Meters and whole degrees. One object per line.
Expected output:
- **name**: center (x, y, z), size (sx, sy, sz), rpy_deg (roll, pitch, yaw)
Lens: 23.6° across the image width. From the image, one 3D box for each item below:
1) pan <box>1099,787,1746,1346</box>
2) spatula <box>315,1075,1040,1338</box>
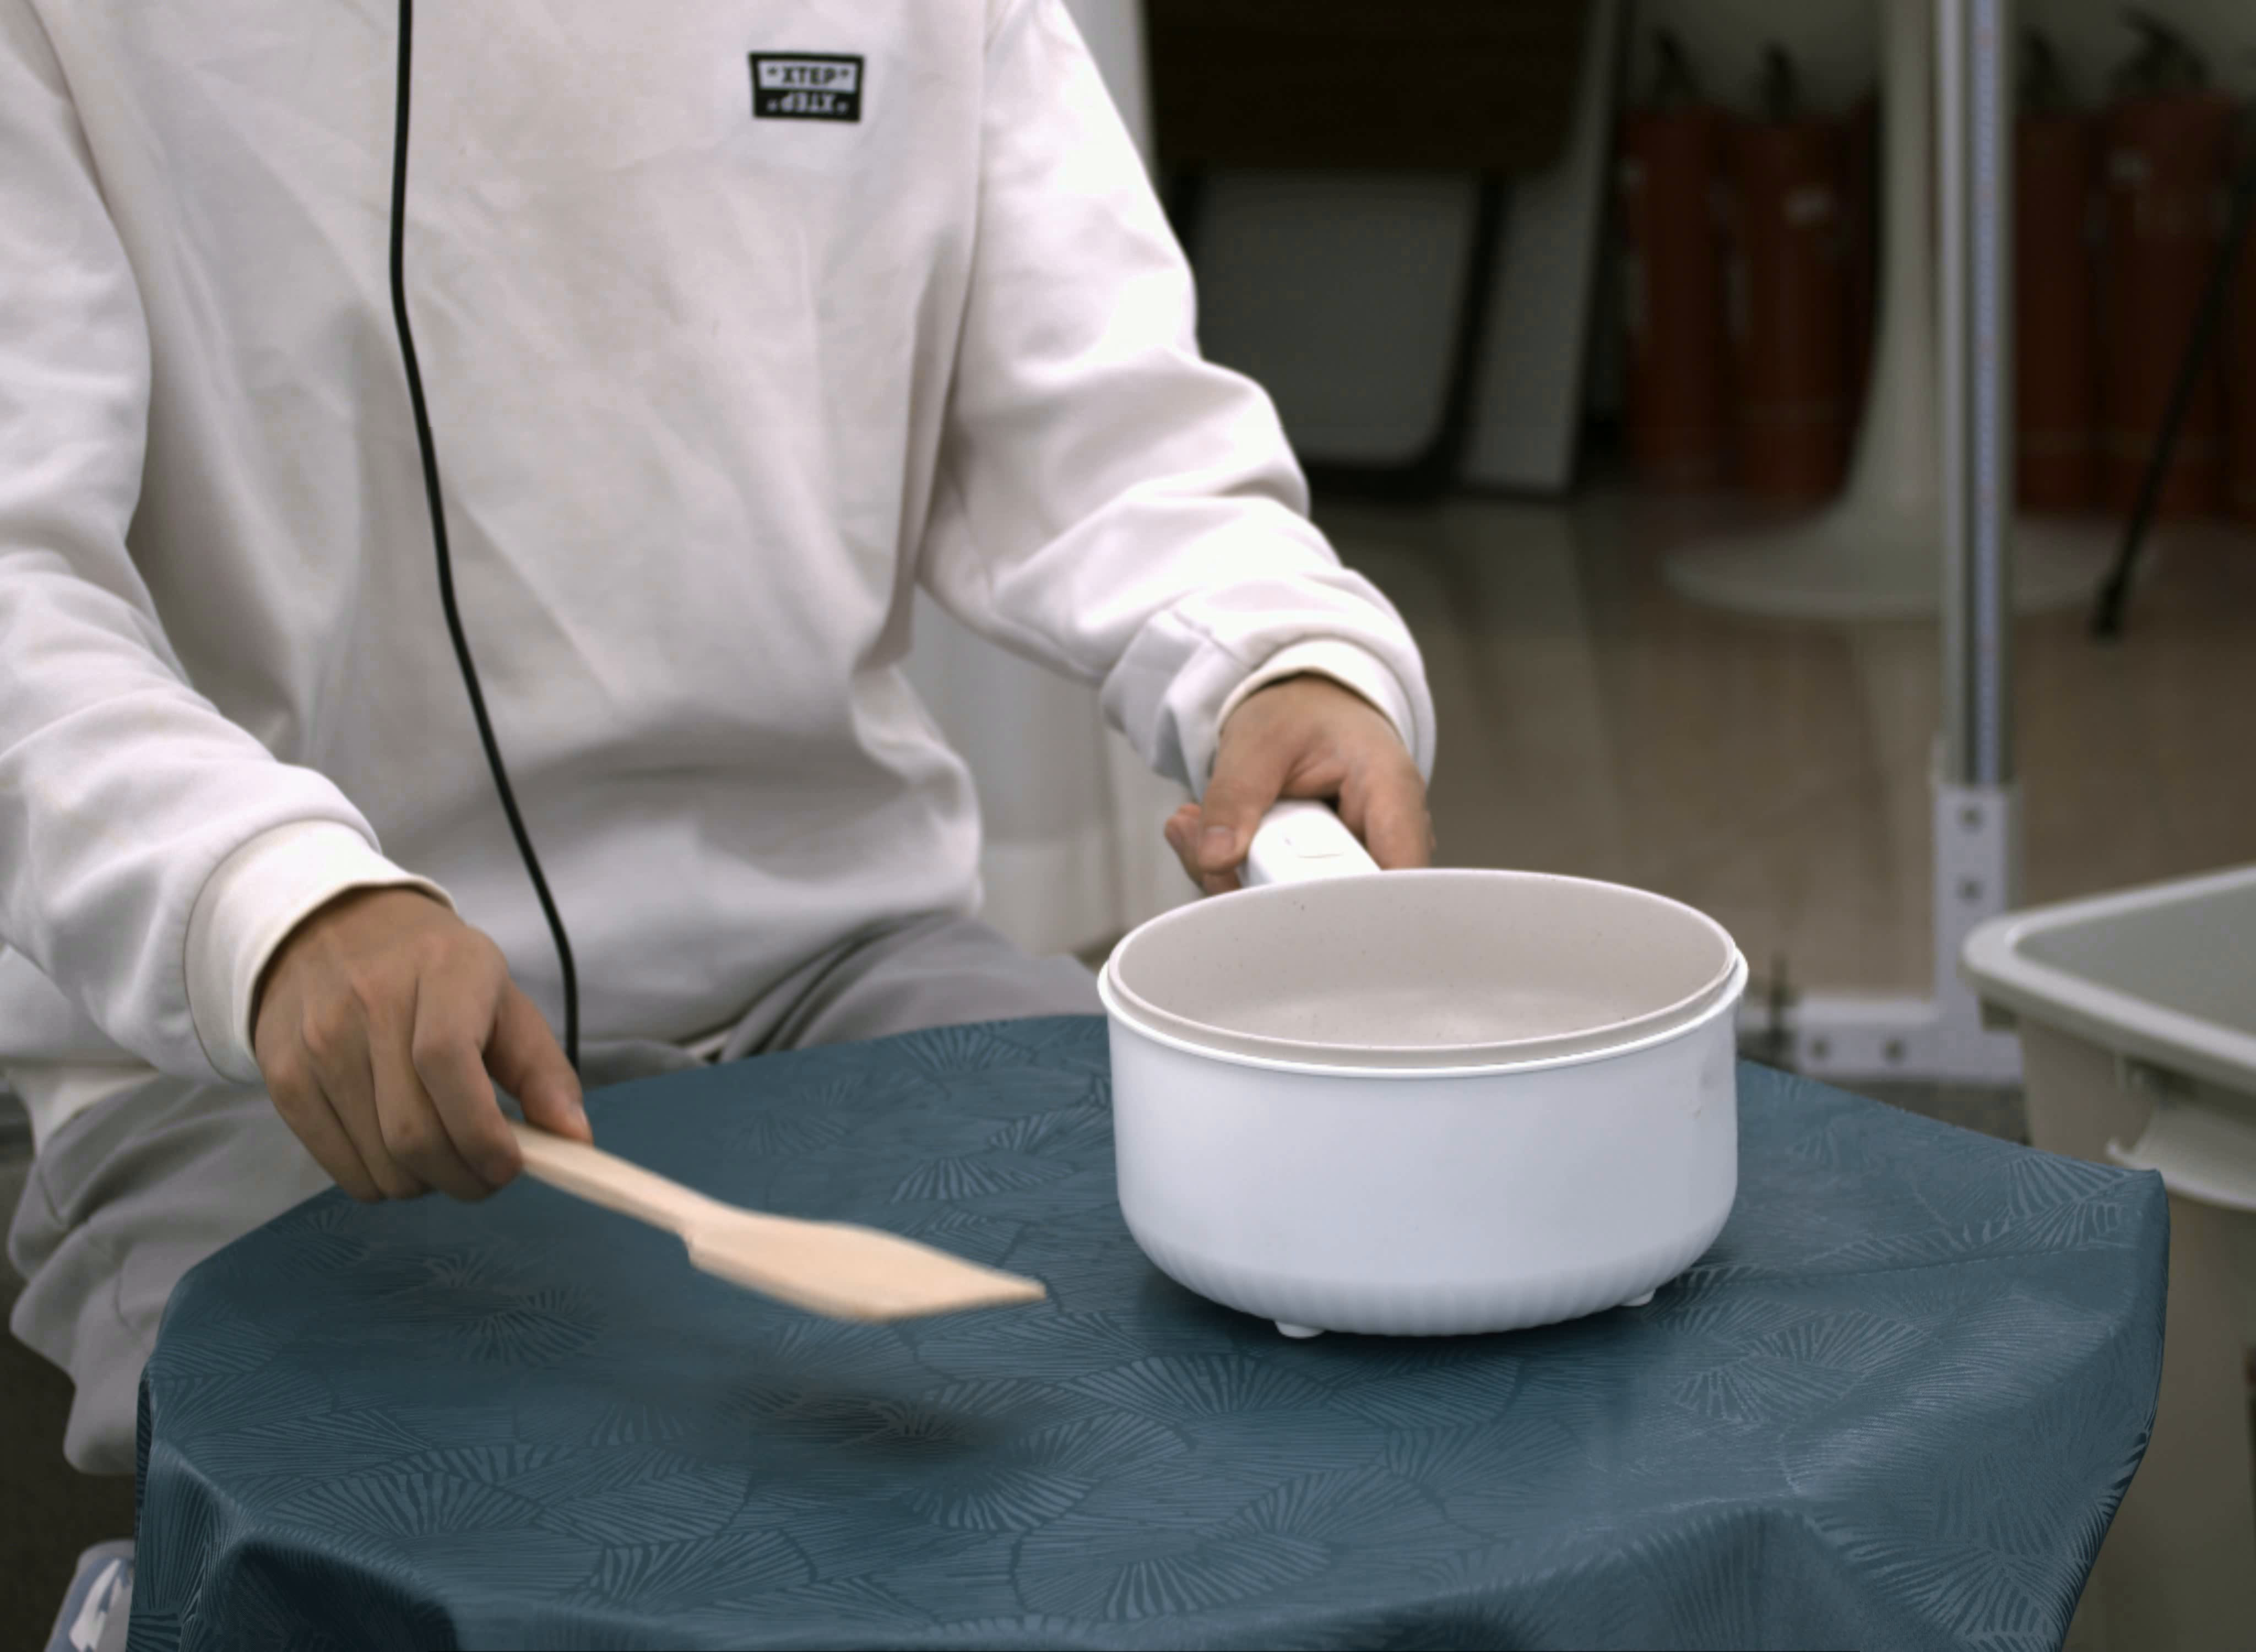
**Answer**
- **pan**: center (0.079, 0.072, 1.738), size (0.198, 0.103, 0.357), rpy_deg (-6, 13, -9)
- **spatula**: center (-0.150, 0.114, 1.635), size (0.296, 0.011, 0.070), rpy_deg (16, 14, 43)
